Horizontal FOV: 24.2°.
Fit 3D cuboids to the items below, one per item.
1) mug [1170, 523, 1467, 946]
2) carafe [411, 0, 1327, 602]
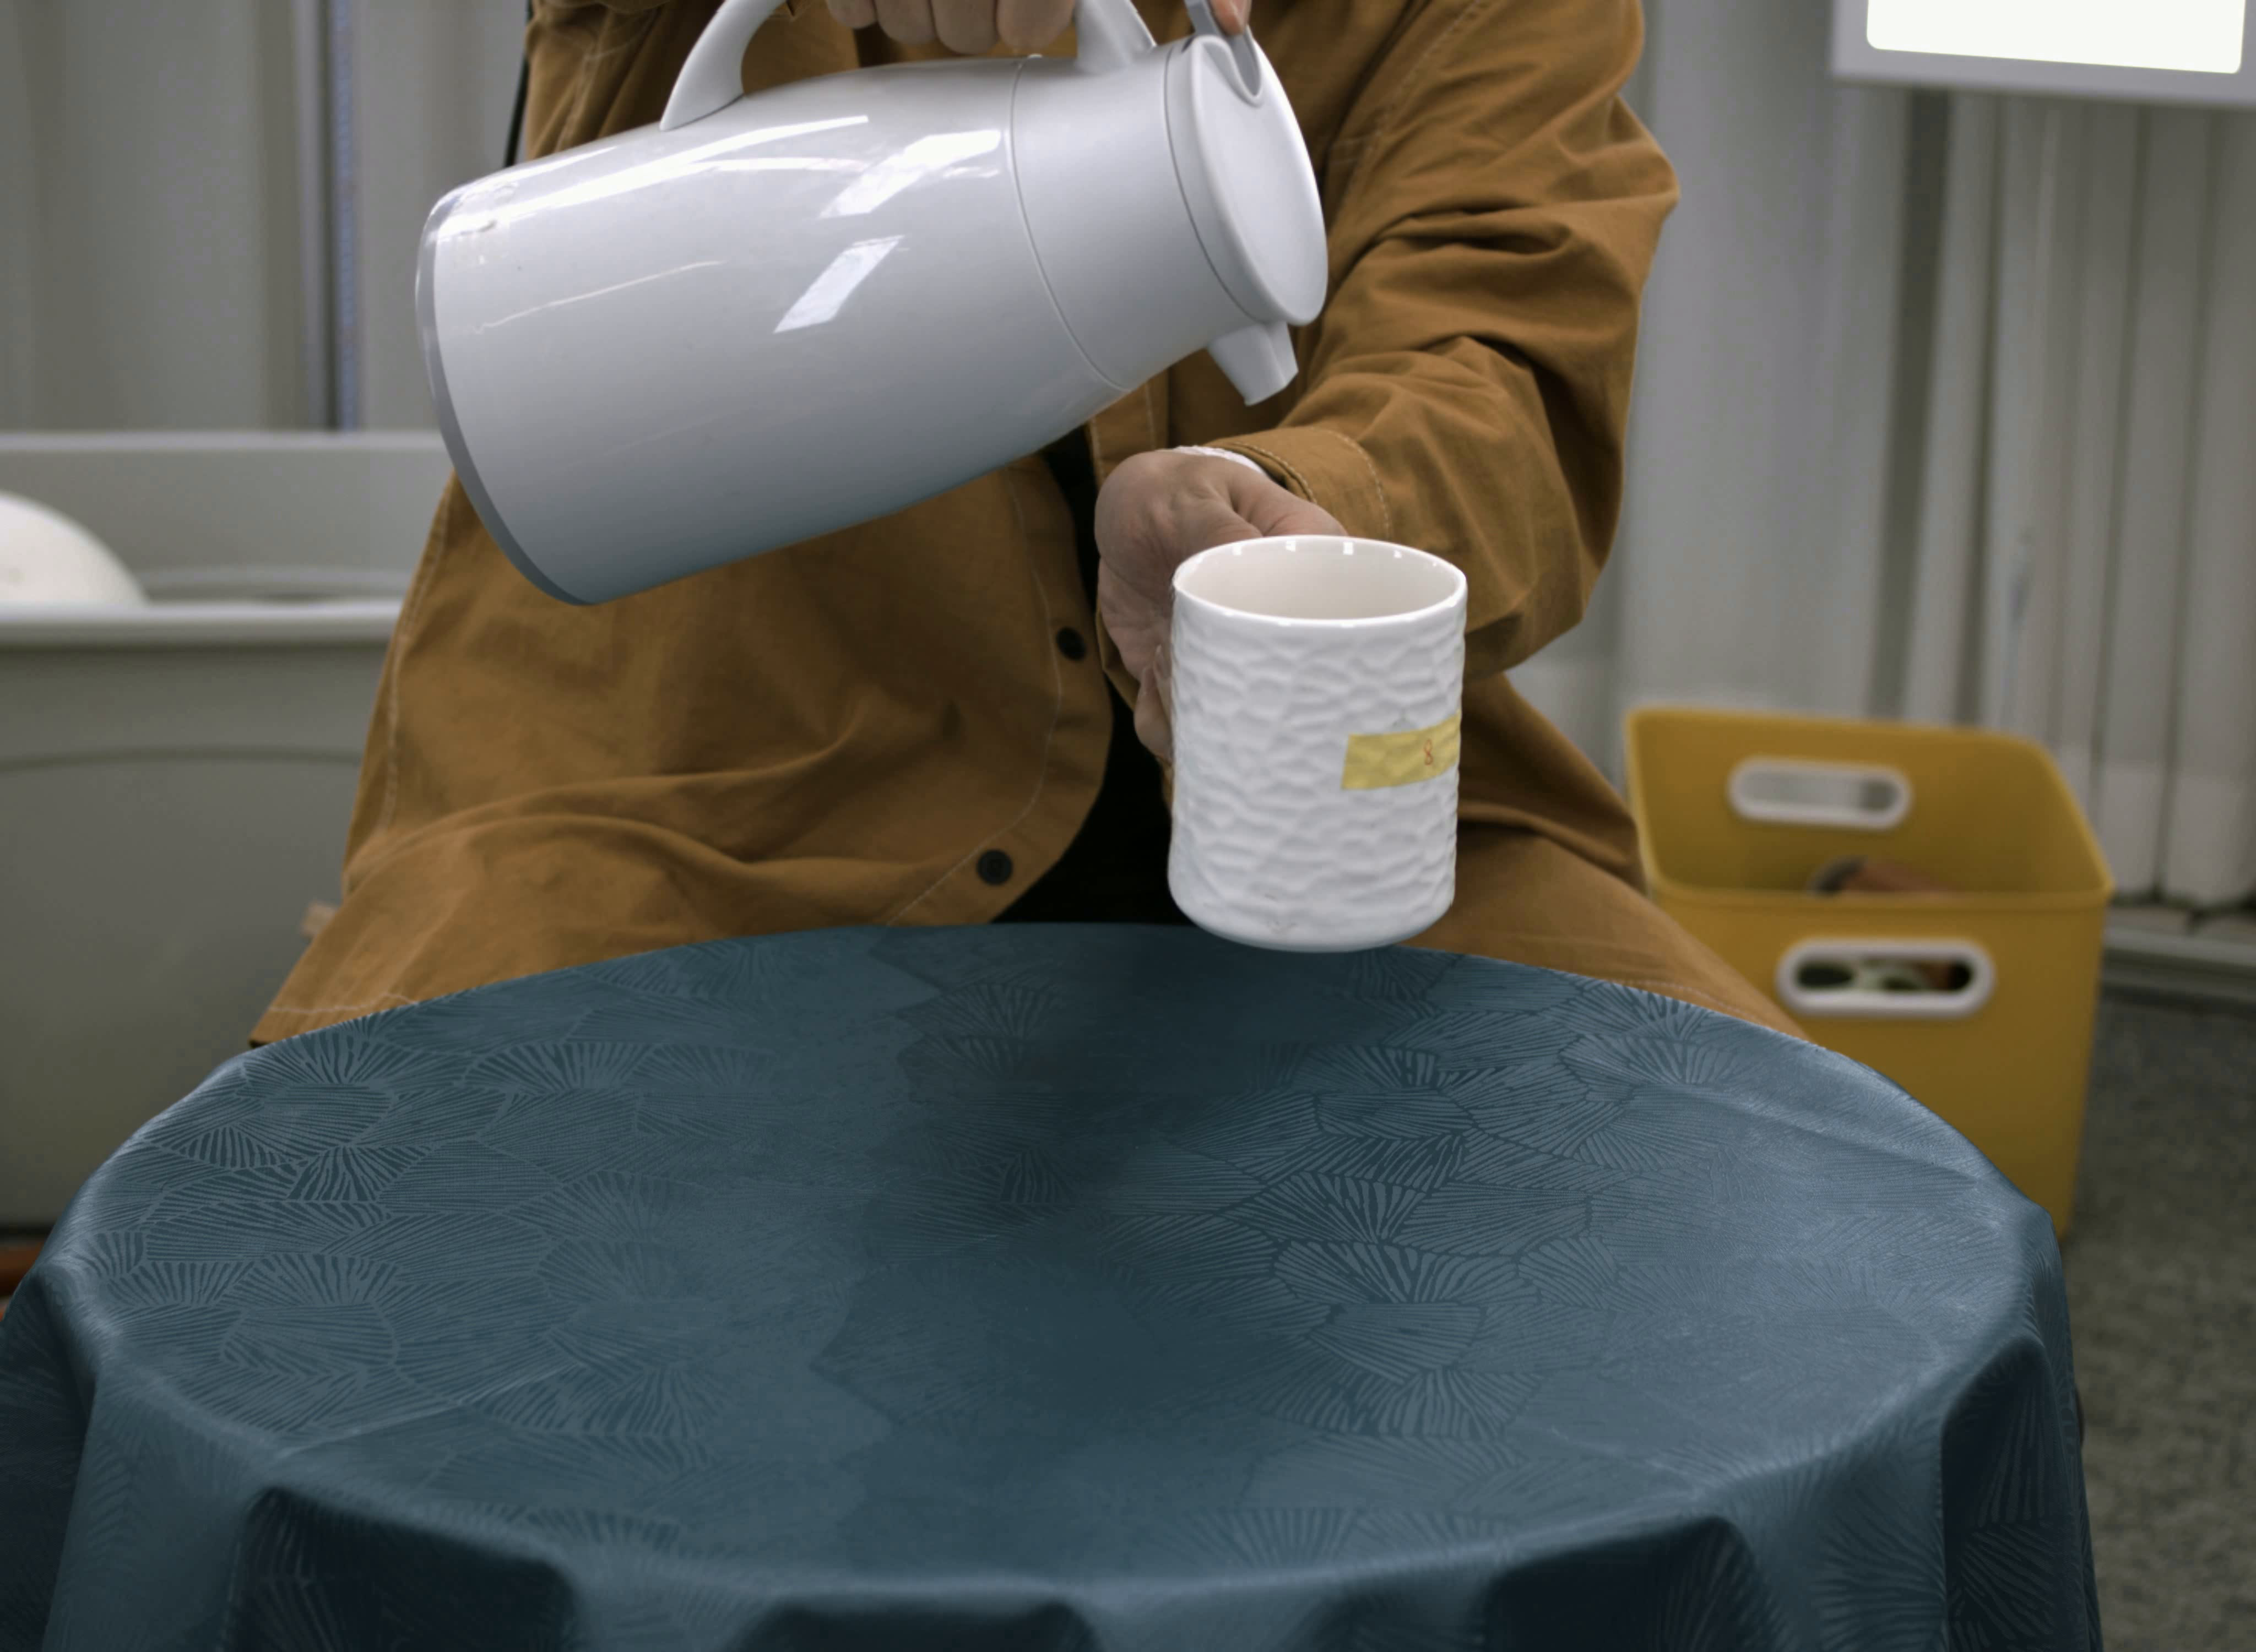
[{"bbox_3d":[0.049,-0.032,1.537,0.085,0.103,0.117,-8,23,-20],"label":"mug"},{"bbox_3d":[-0.074,-0.176,1.512,0.247,0.169,0.132,-15,18,20],"label":"carafe"}]
